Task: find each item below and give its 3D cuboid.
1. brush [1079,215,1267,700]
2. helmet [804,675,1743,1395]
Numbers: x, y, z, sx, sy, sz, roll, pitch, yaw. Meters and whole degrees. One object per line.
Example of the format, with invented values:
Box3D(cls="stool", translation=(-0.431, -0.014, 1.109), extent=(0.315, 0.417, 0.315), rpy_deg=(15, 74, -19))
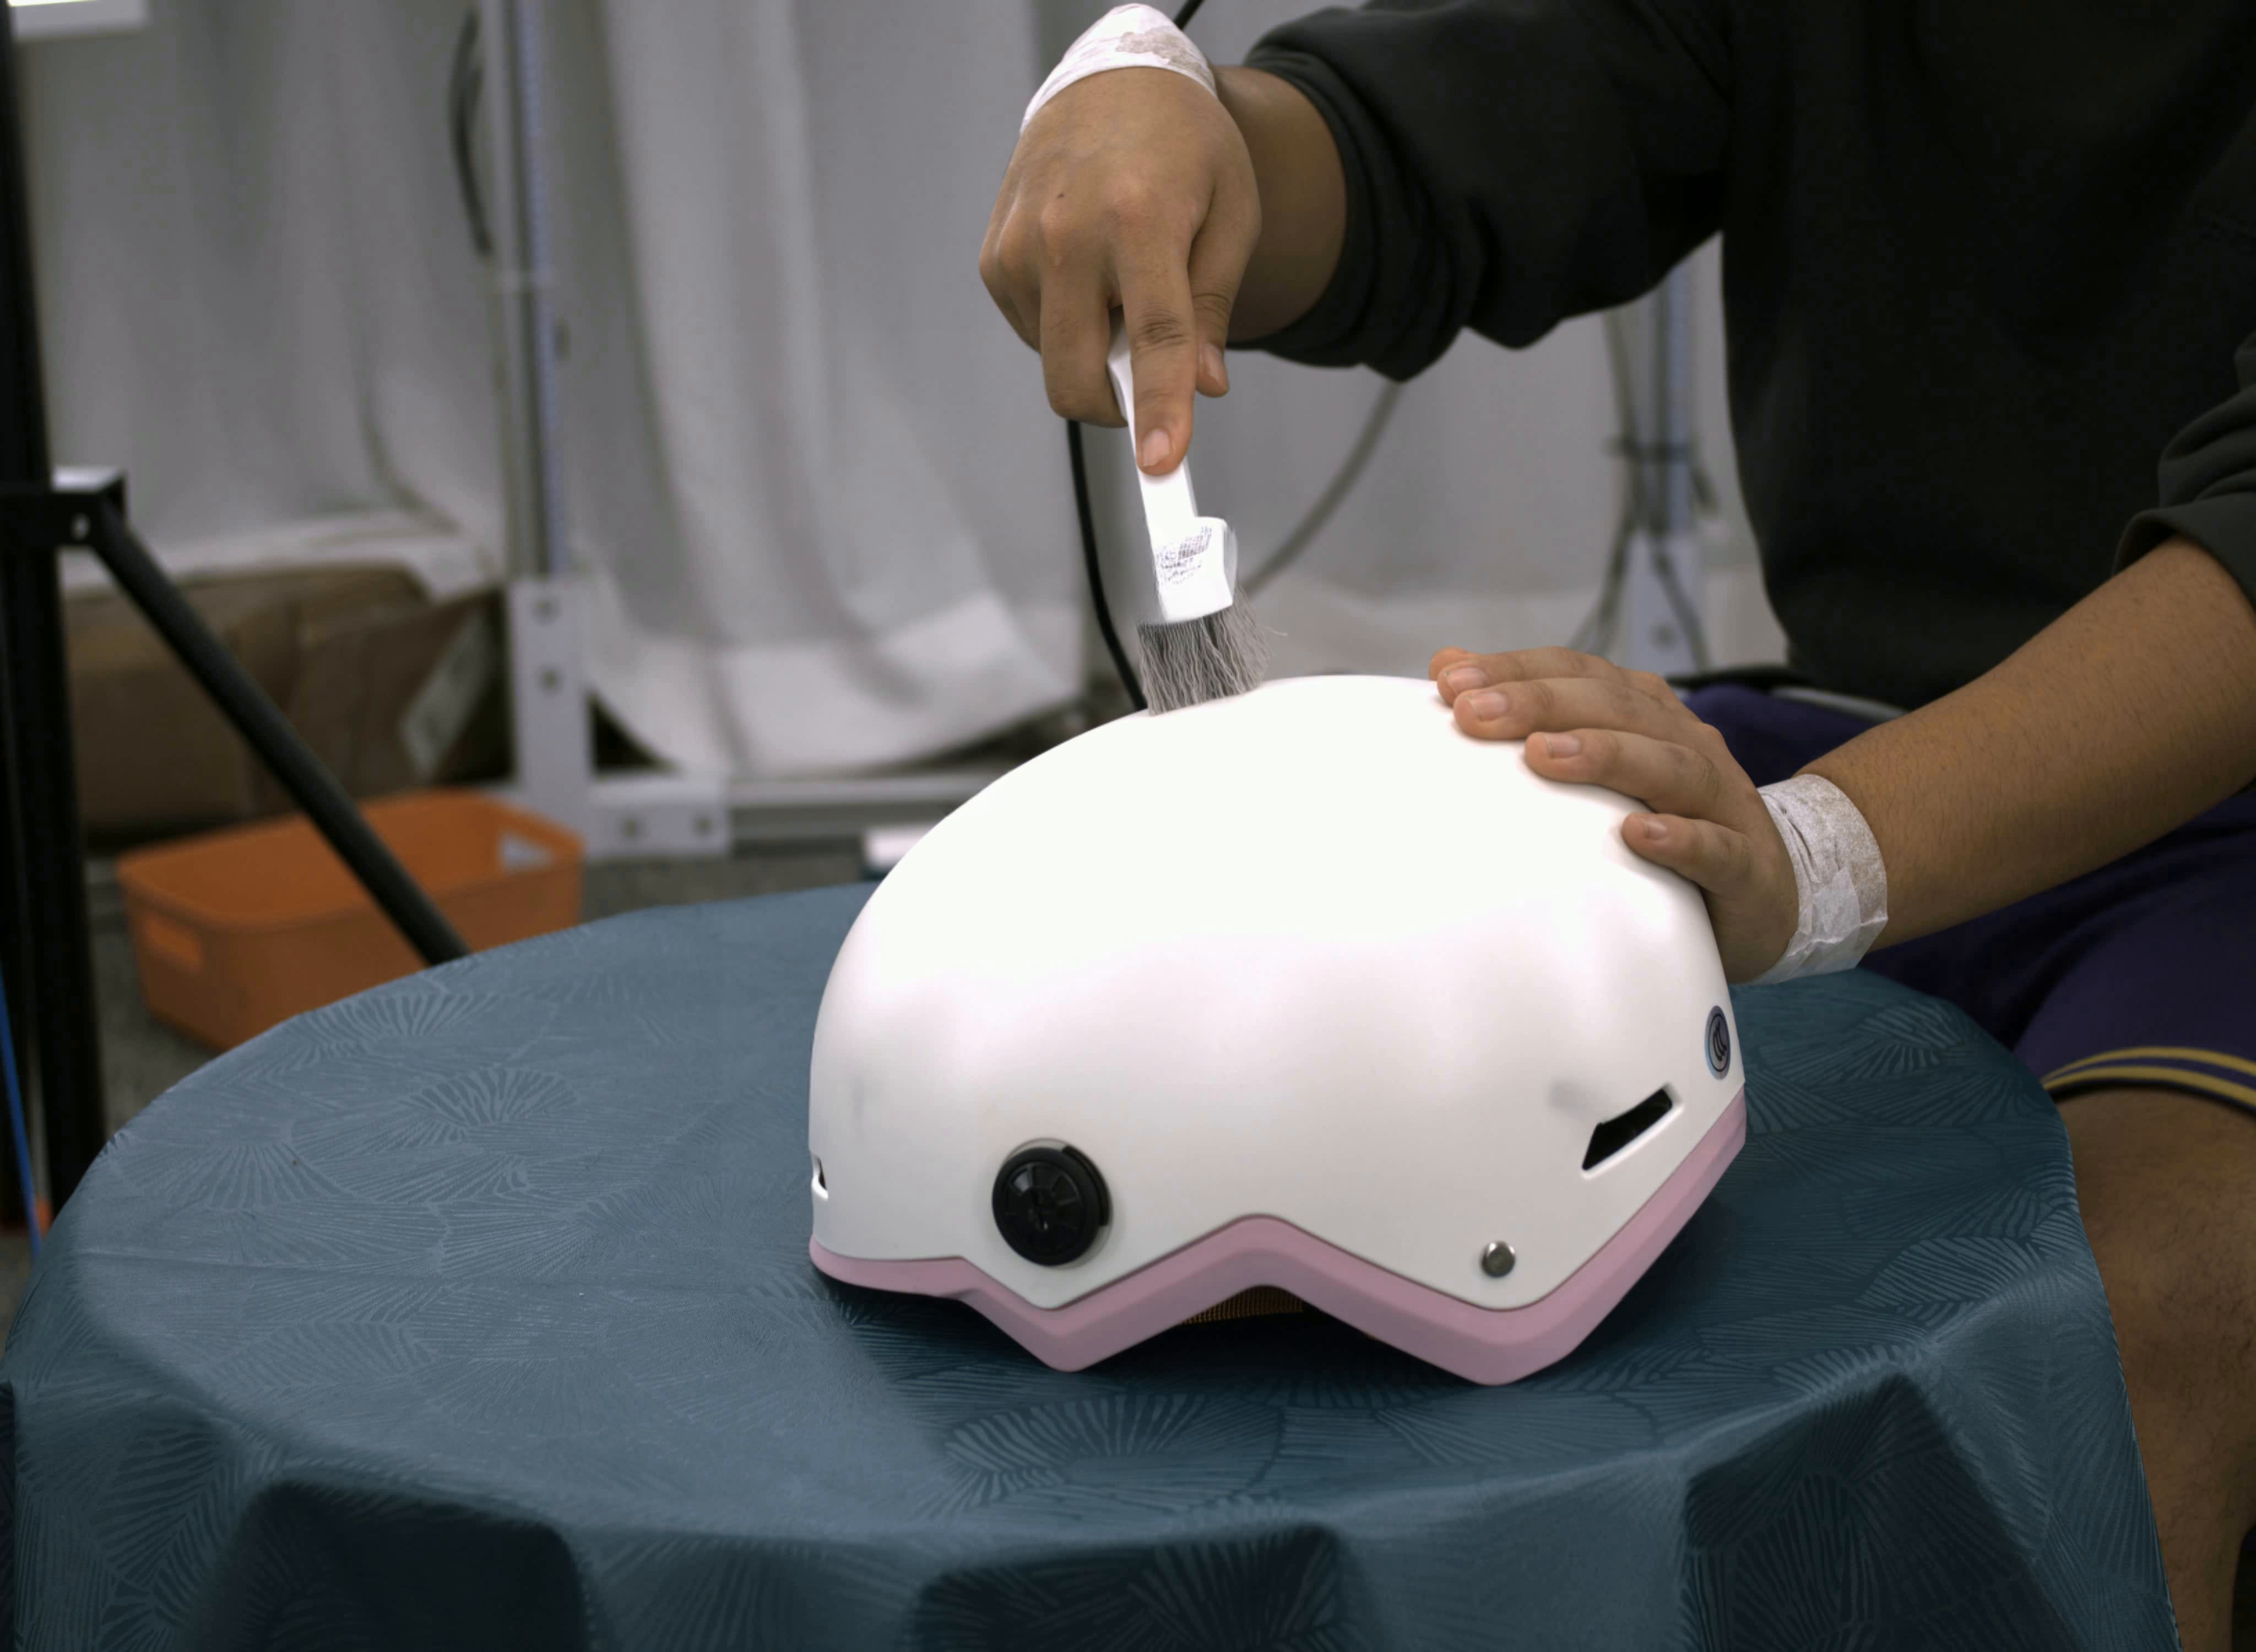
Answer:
Box3D(cls="brush", translation=(0.011, -0.109, 1.573), extent=(0.034, 0.049, 0.246), rpy_deg=(-18, 32, 6))
Box3D(cls="helmet", translation=(0.037, 0.043, 1.487), extent=(0.272, 0.167, 0.234), rpy_deg=(4, 17, 22))
